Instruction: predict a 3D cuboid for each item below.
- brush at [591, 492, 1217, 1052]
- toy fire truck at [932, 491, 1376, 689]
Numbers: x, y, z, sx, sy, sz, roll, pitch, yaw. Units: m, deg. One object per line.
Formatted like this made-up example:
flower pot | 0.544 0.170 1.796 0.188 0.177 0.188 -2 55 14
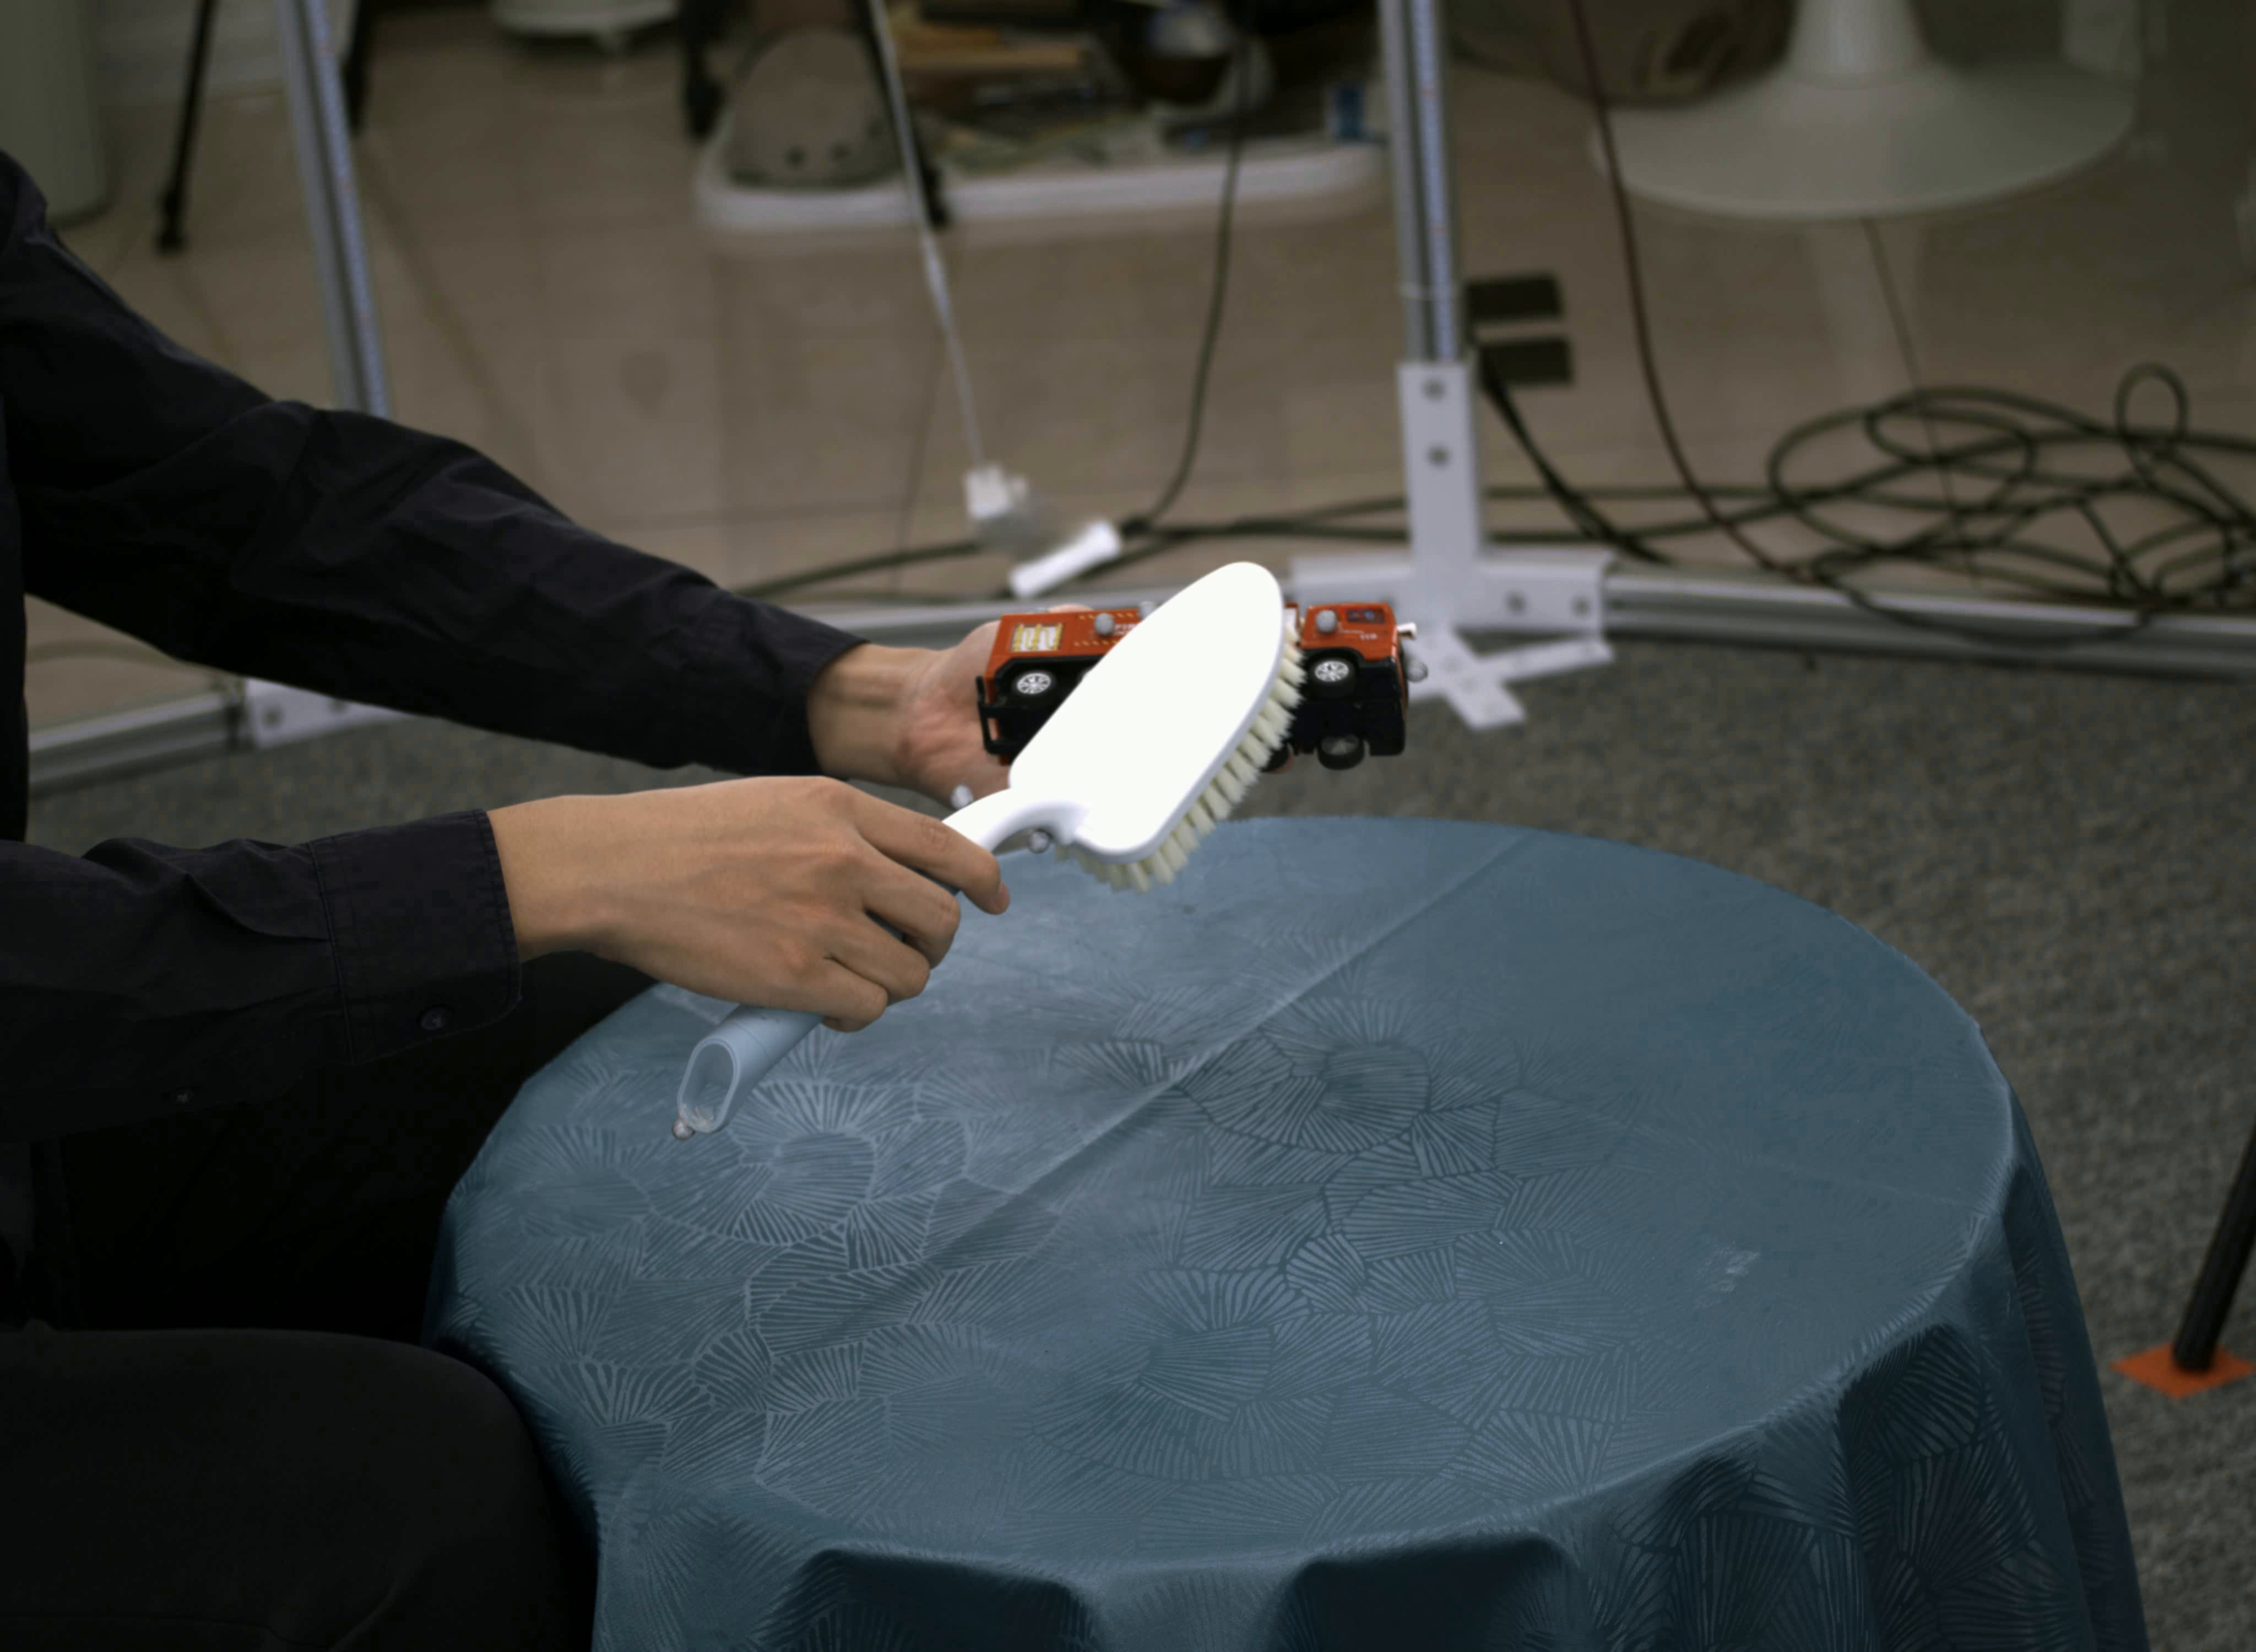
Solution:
brush | -0.081 -0.006 2.089 0.322 0.085 0.083 -44 22 -27
toy fire truck | 0.011 -0.092 2.189 0.167 0.055 0.069 -2 40 8
